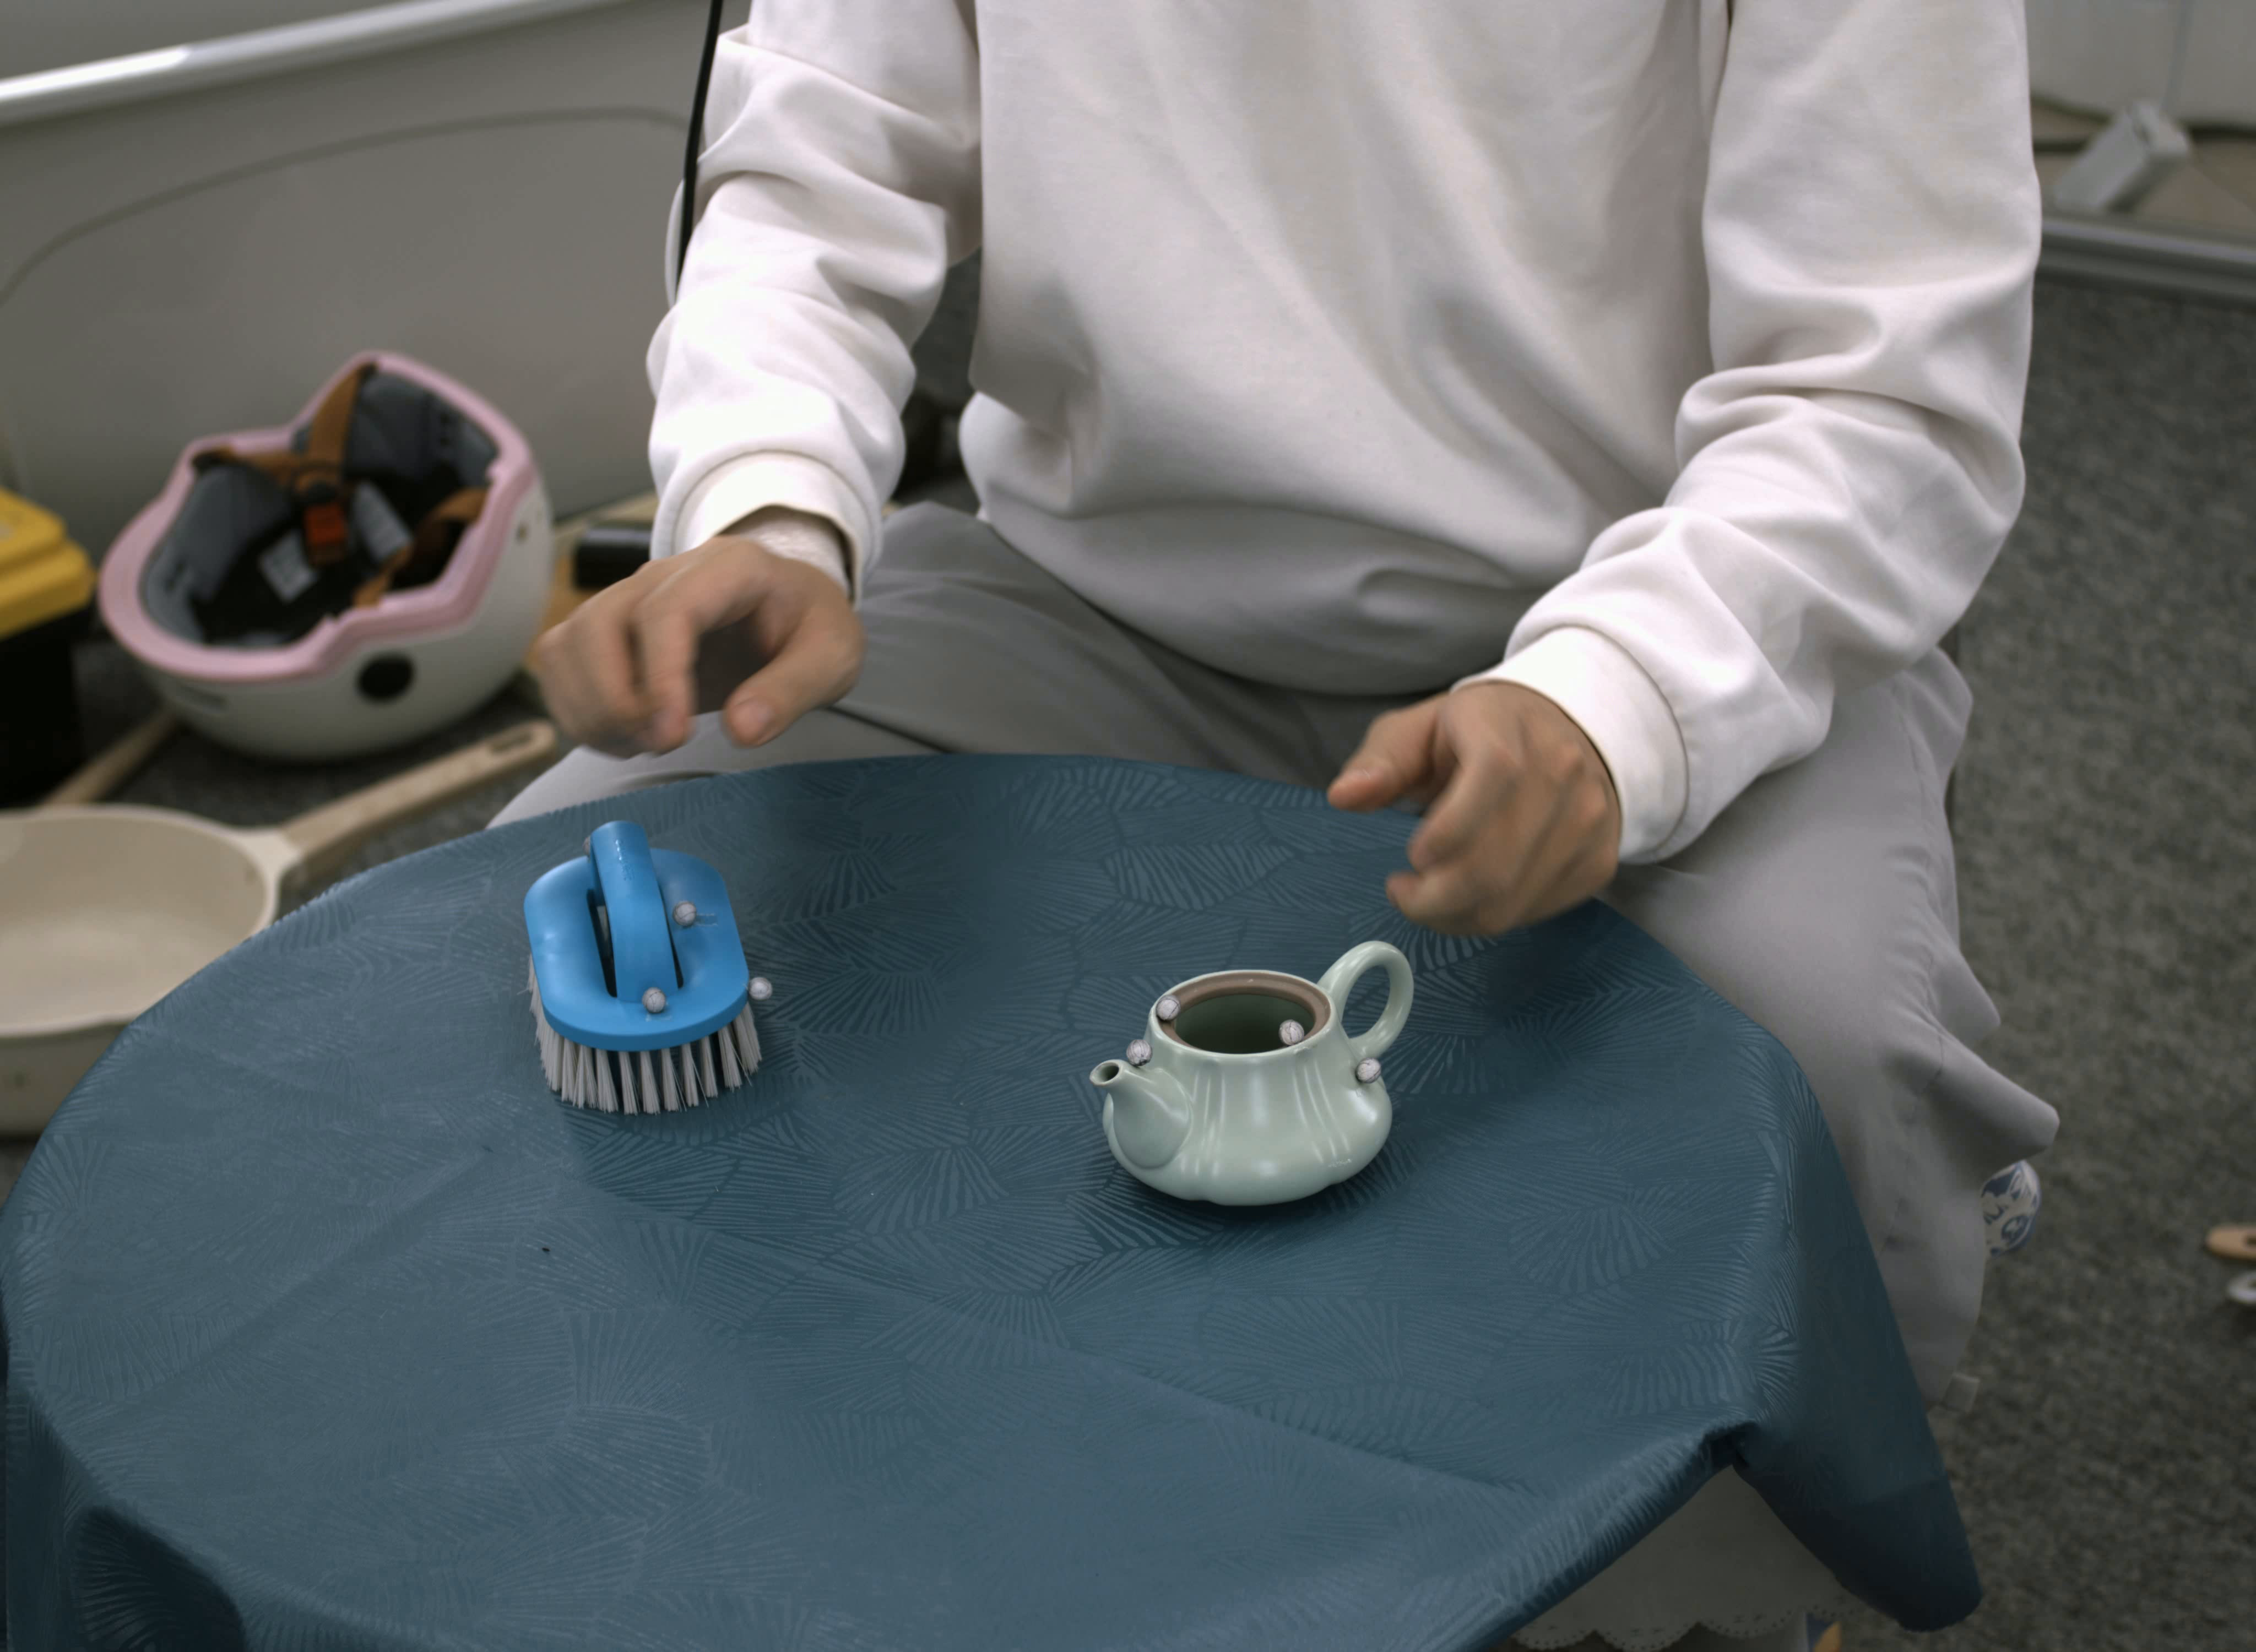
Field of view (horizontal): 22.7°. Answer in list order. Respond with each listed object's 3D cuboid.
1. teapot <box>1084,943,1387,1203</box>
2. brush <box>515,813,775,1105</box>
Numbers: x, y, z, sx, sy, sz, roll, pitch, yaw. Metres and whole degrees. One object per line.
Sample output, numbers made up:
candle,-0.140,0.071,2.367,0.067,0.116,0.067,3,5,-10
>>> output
teapot,0.037,0.085,1.868,0.138,0.061,0.096,-23,28,-38
brush,-0.173,0.038,1.970,0.084,0.063,0.143,-10,27,-5
